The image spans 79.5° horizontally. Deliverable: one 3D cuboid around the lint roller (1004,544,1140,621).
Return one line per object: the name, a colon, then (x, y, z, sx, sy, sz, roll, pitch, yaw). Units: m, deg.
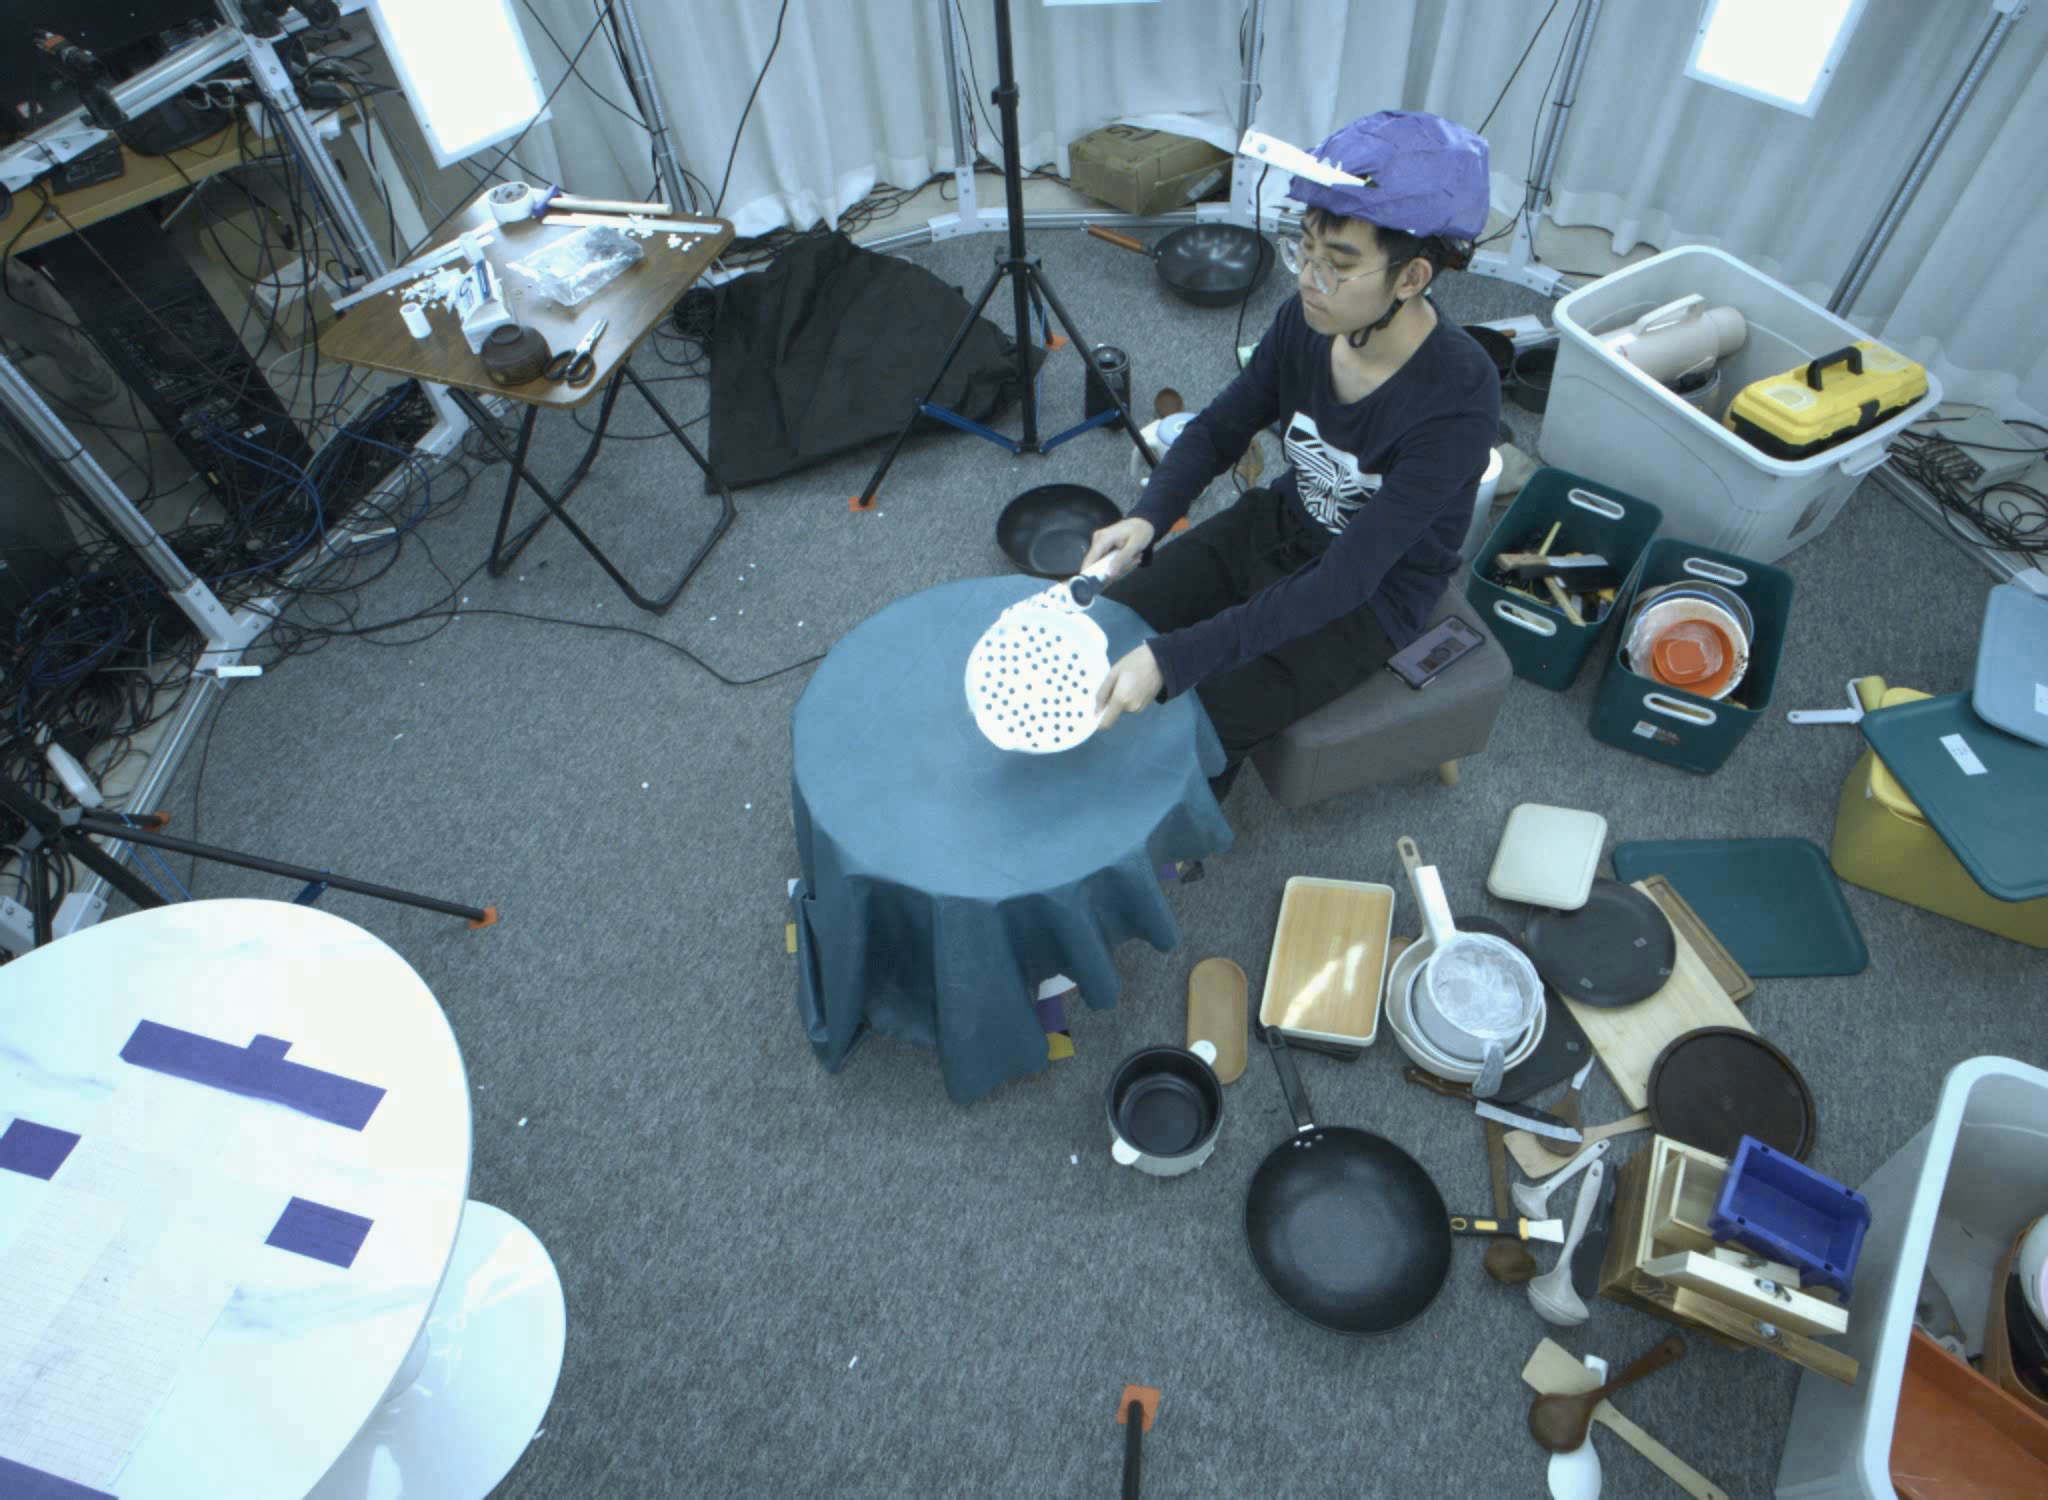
lint roller: (0.094, -0.254, 1.826, 0.249, 0.173, 0.051, -42, 104, -39)

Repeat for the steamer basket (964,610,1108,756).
steamer basket: (0.014, -0.090, 1.705, 0.203, 0.068, 0.231, 47, 68, -11)
